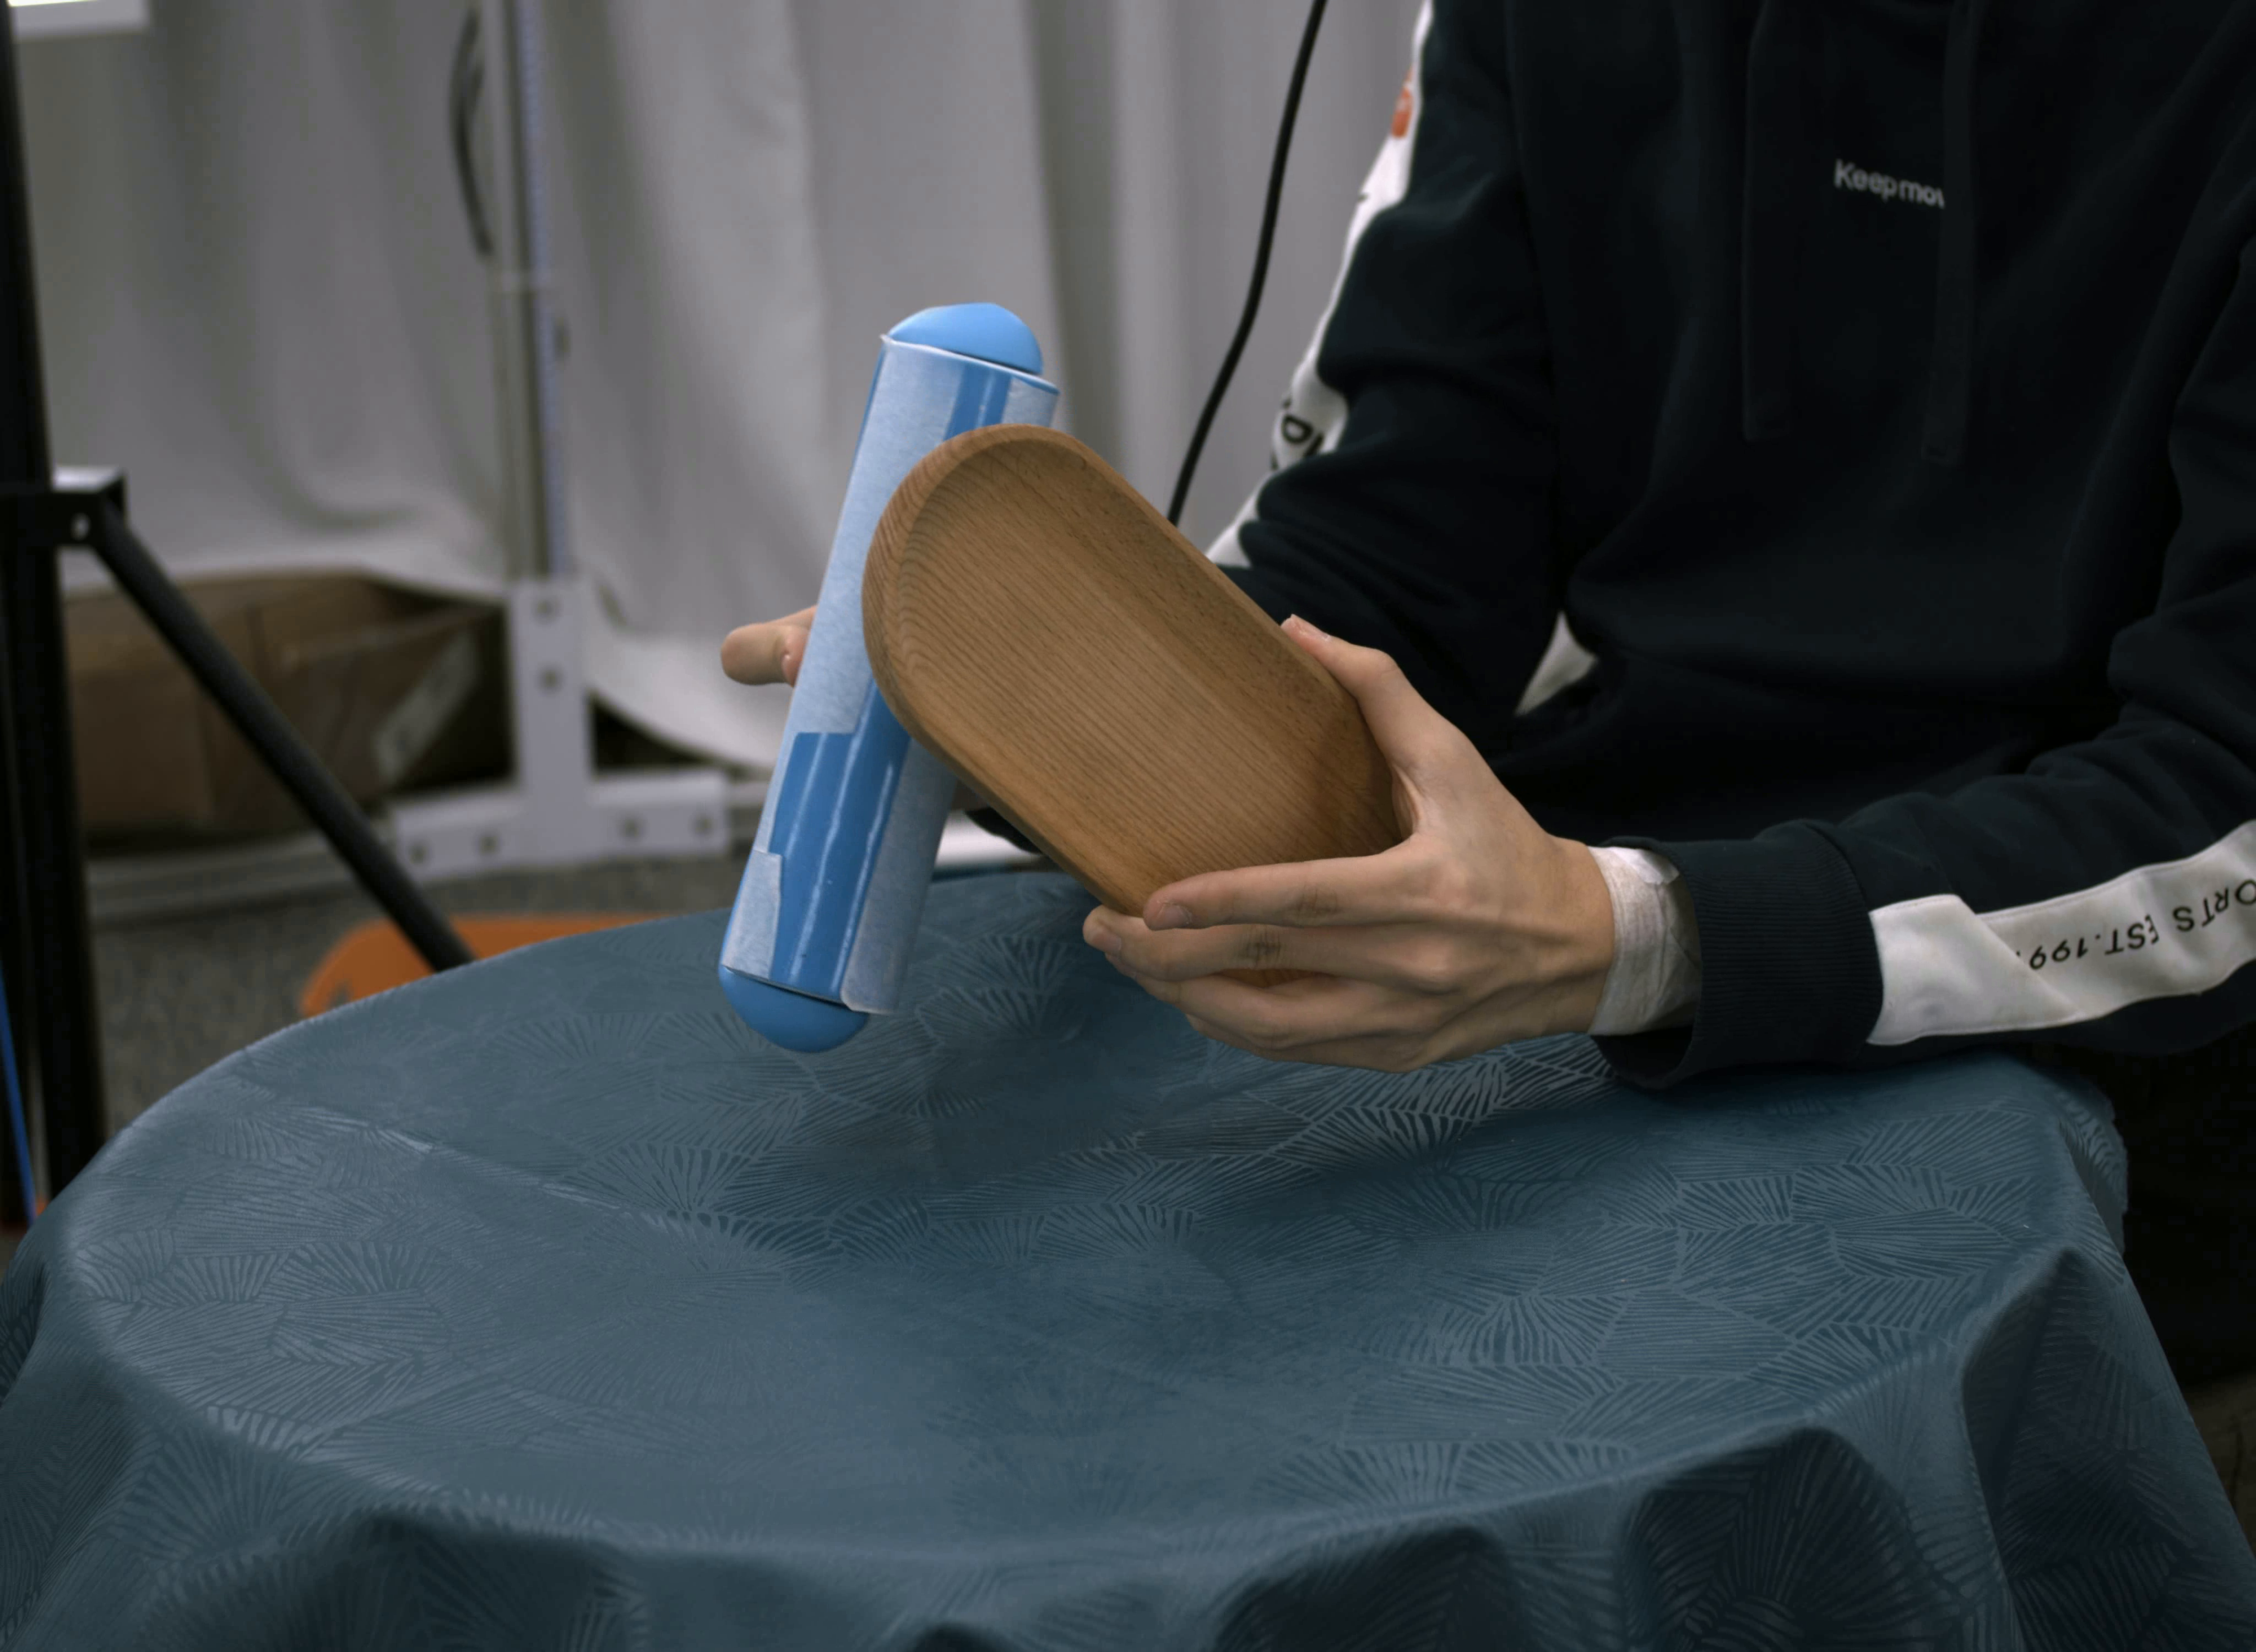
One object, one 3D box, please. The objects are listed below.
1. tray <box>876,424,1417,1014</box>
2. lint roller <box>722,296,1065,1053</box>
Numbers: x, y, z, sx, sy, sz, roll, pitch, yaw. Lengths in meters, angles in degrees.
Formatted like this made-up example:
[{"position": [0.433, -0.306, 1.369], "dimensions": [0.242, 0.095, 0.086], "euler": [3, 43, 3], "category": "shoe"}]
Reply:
[{"position": [0.008, -0.029, 1.543], "dimensions": [0.021, 0.102, 0.226], "euler": [10, -24, 48], "category": "tray"}, {"position": [-0.064, -0.040, 1.635], "dimensions": [0.068, 0.230, 0.179], "euler": [14, -3, 7], "category": "lint roller"}]
